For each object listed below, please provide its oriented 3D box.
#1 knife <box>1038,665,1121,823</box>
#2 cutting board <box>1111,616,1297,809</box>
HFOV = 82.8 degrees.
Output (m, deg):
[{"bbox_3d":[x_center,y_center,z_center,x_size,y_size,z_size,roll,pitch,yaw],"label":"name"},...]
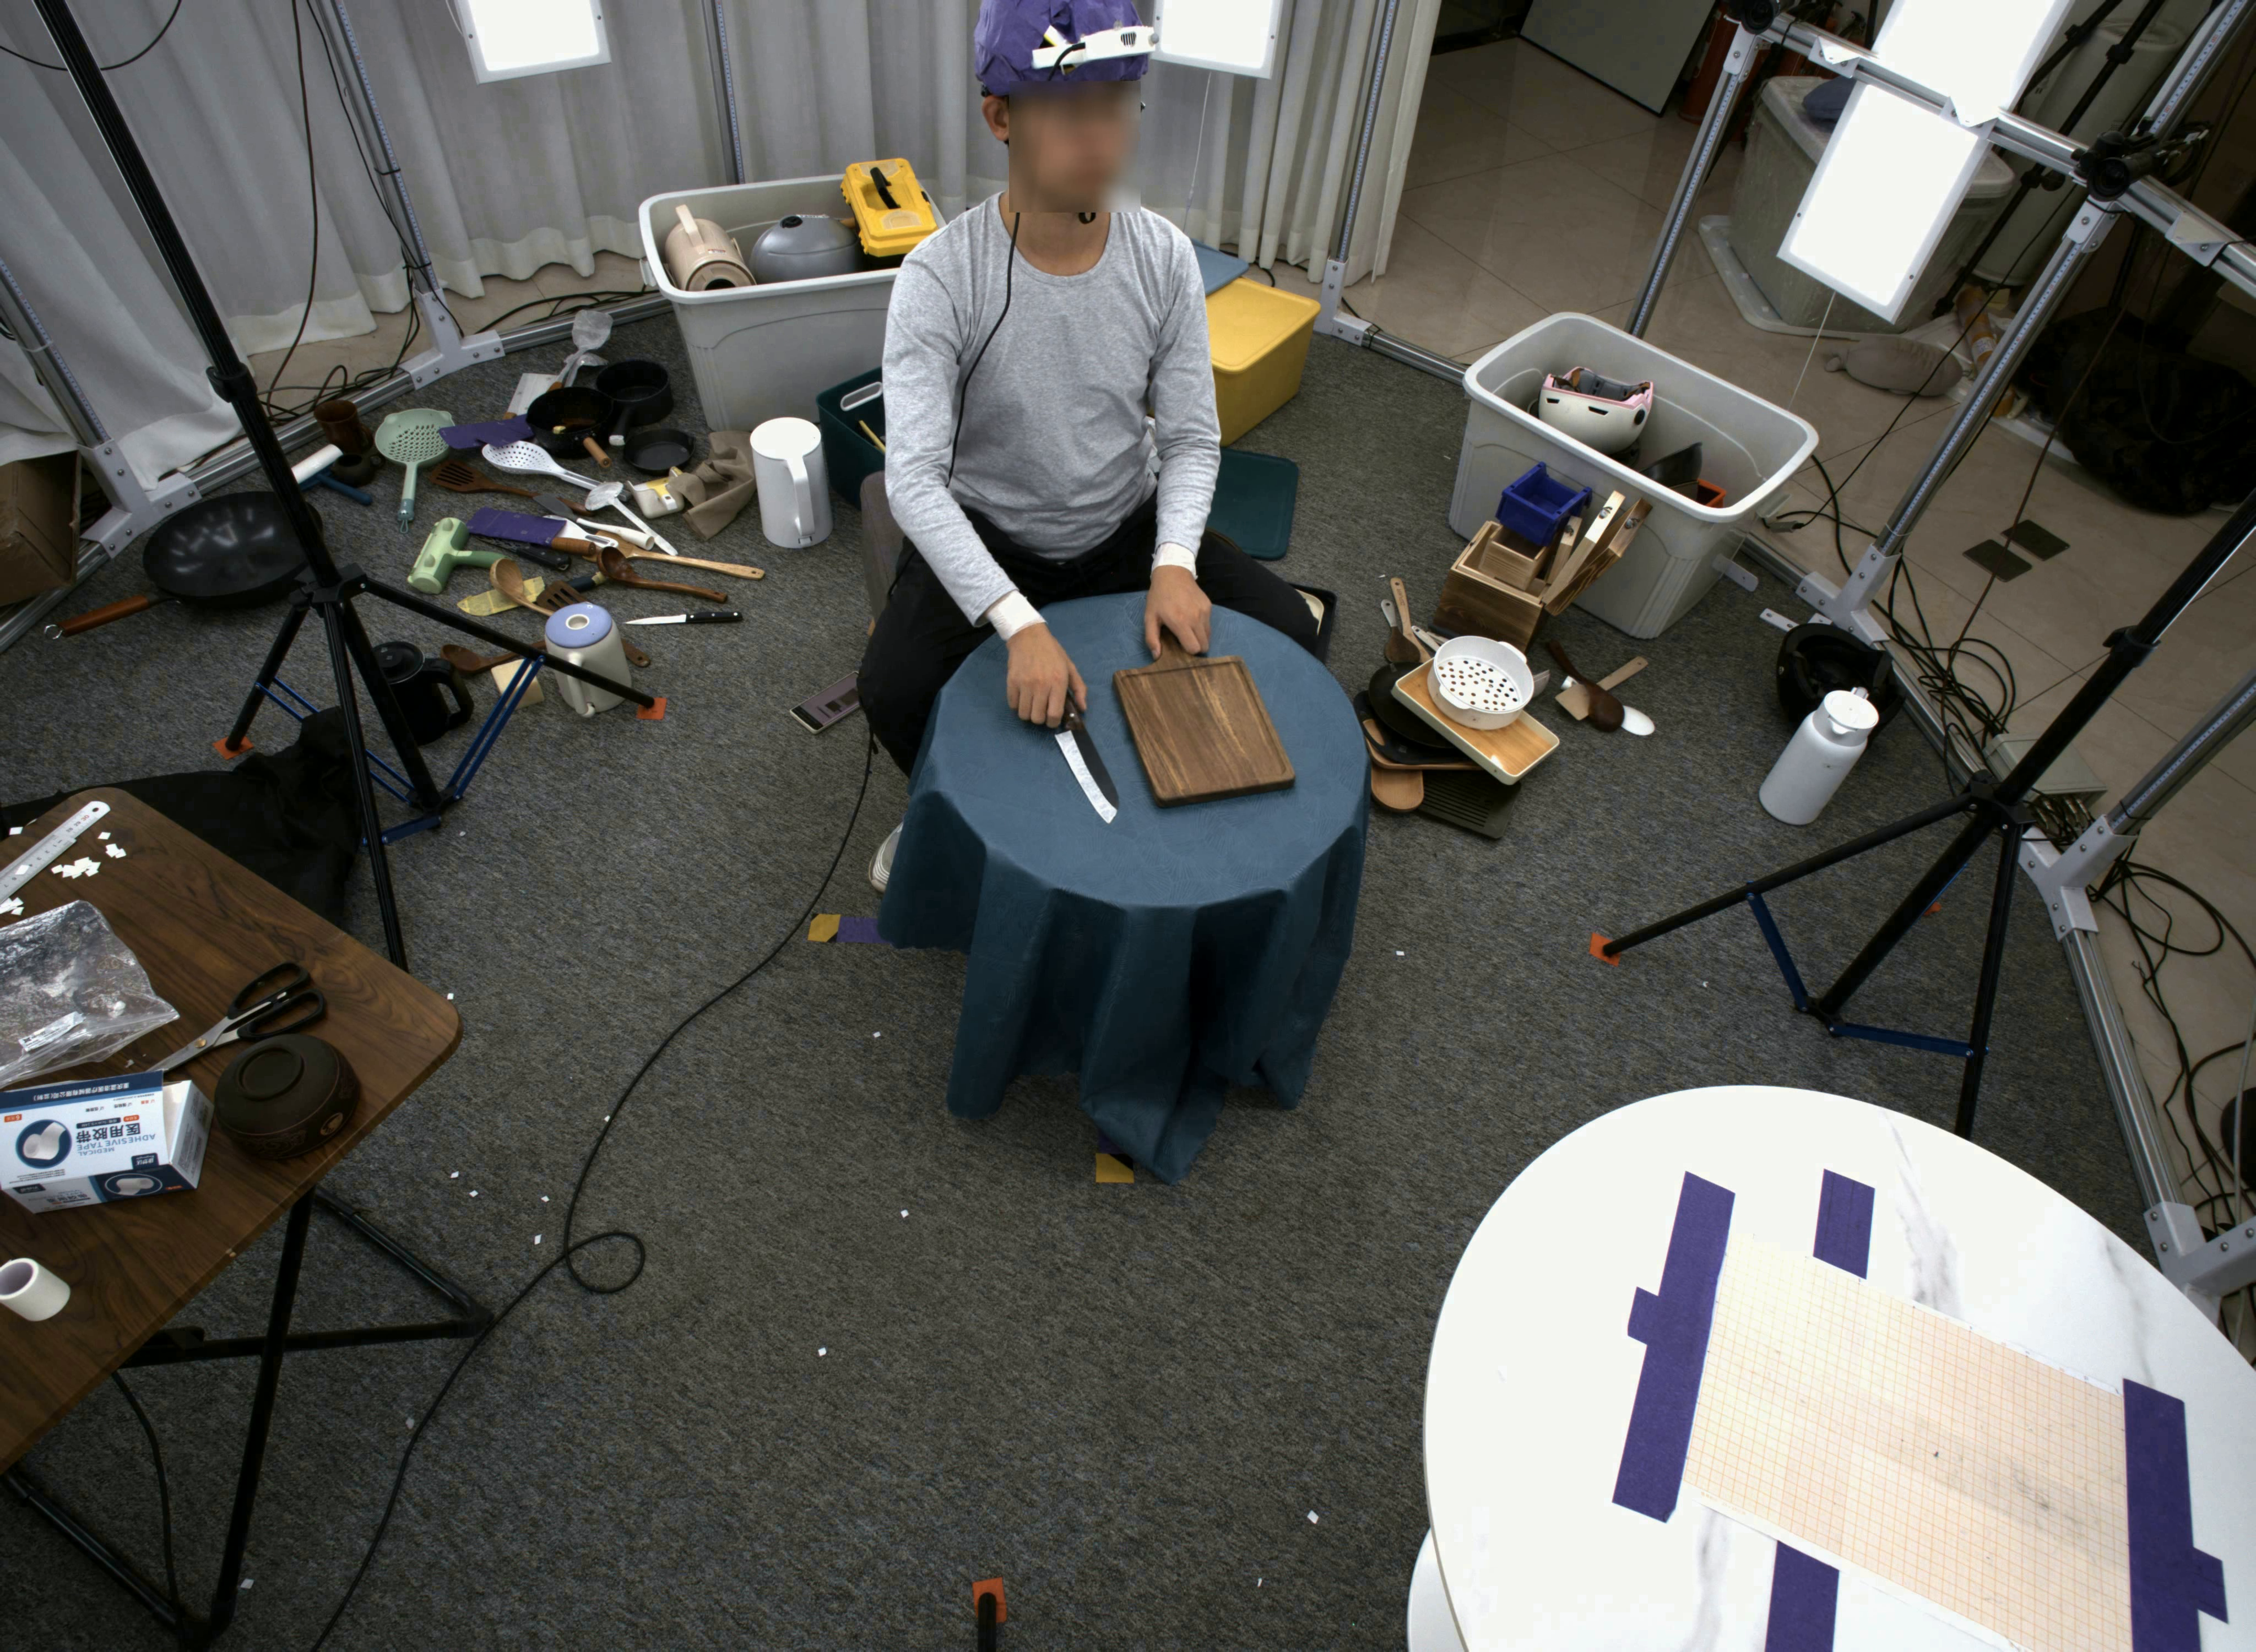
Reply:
[{"bbox_3d":[-0.070,-0.115,1.753,0.050,0.019,0.296,-16,54,-11],"label":"knife"},{"bbox_3d":[0.090,-0.175,1.812,0.201,0.022,0.361,-9,50,-12],"label":"cutting board"}]
